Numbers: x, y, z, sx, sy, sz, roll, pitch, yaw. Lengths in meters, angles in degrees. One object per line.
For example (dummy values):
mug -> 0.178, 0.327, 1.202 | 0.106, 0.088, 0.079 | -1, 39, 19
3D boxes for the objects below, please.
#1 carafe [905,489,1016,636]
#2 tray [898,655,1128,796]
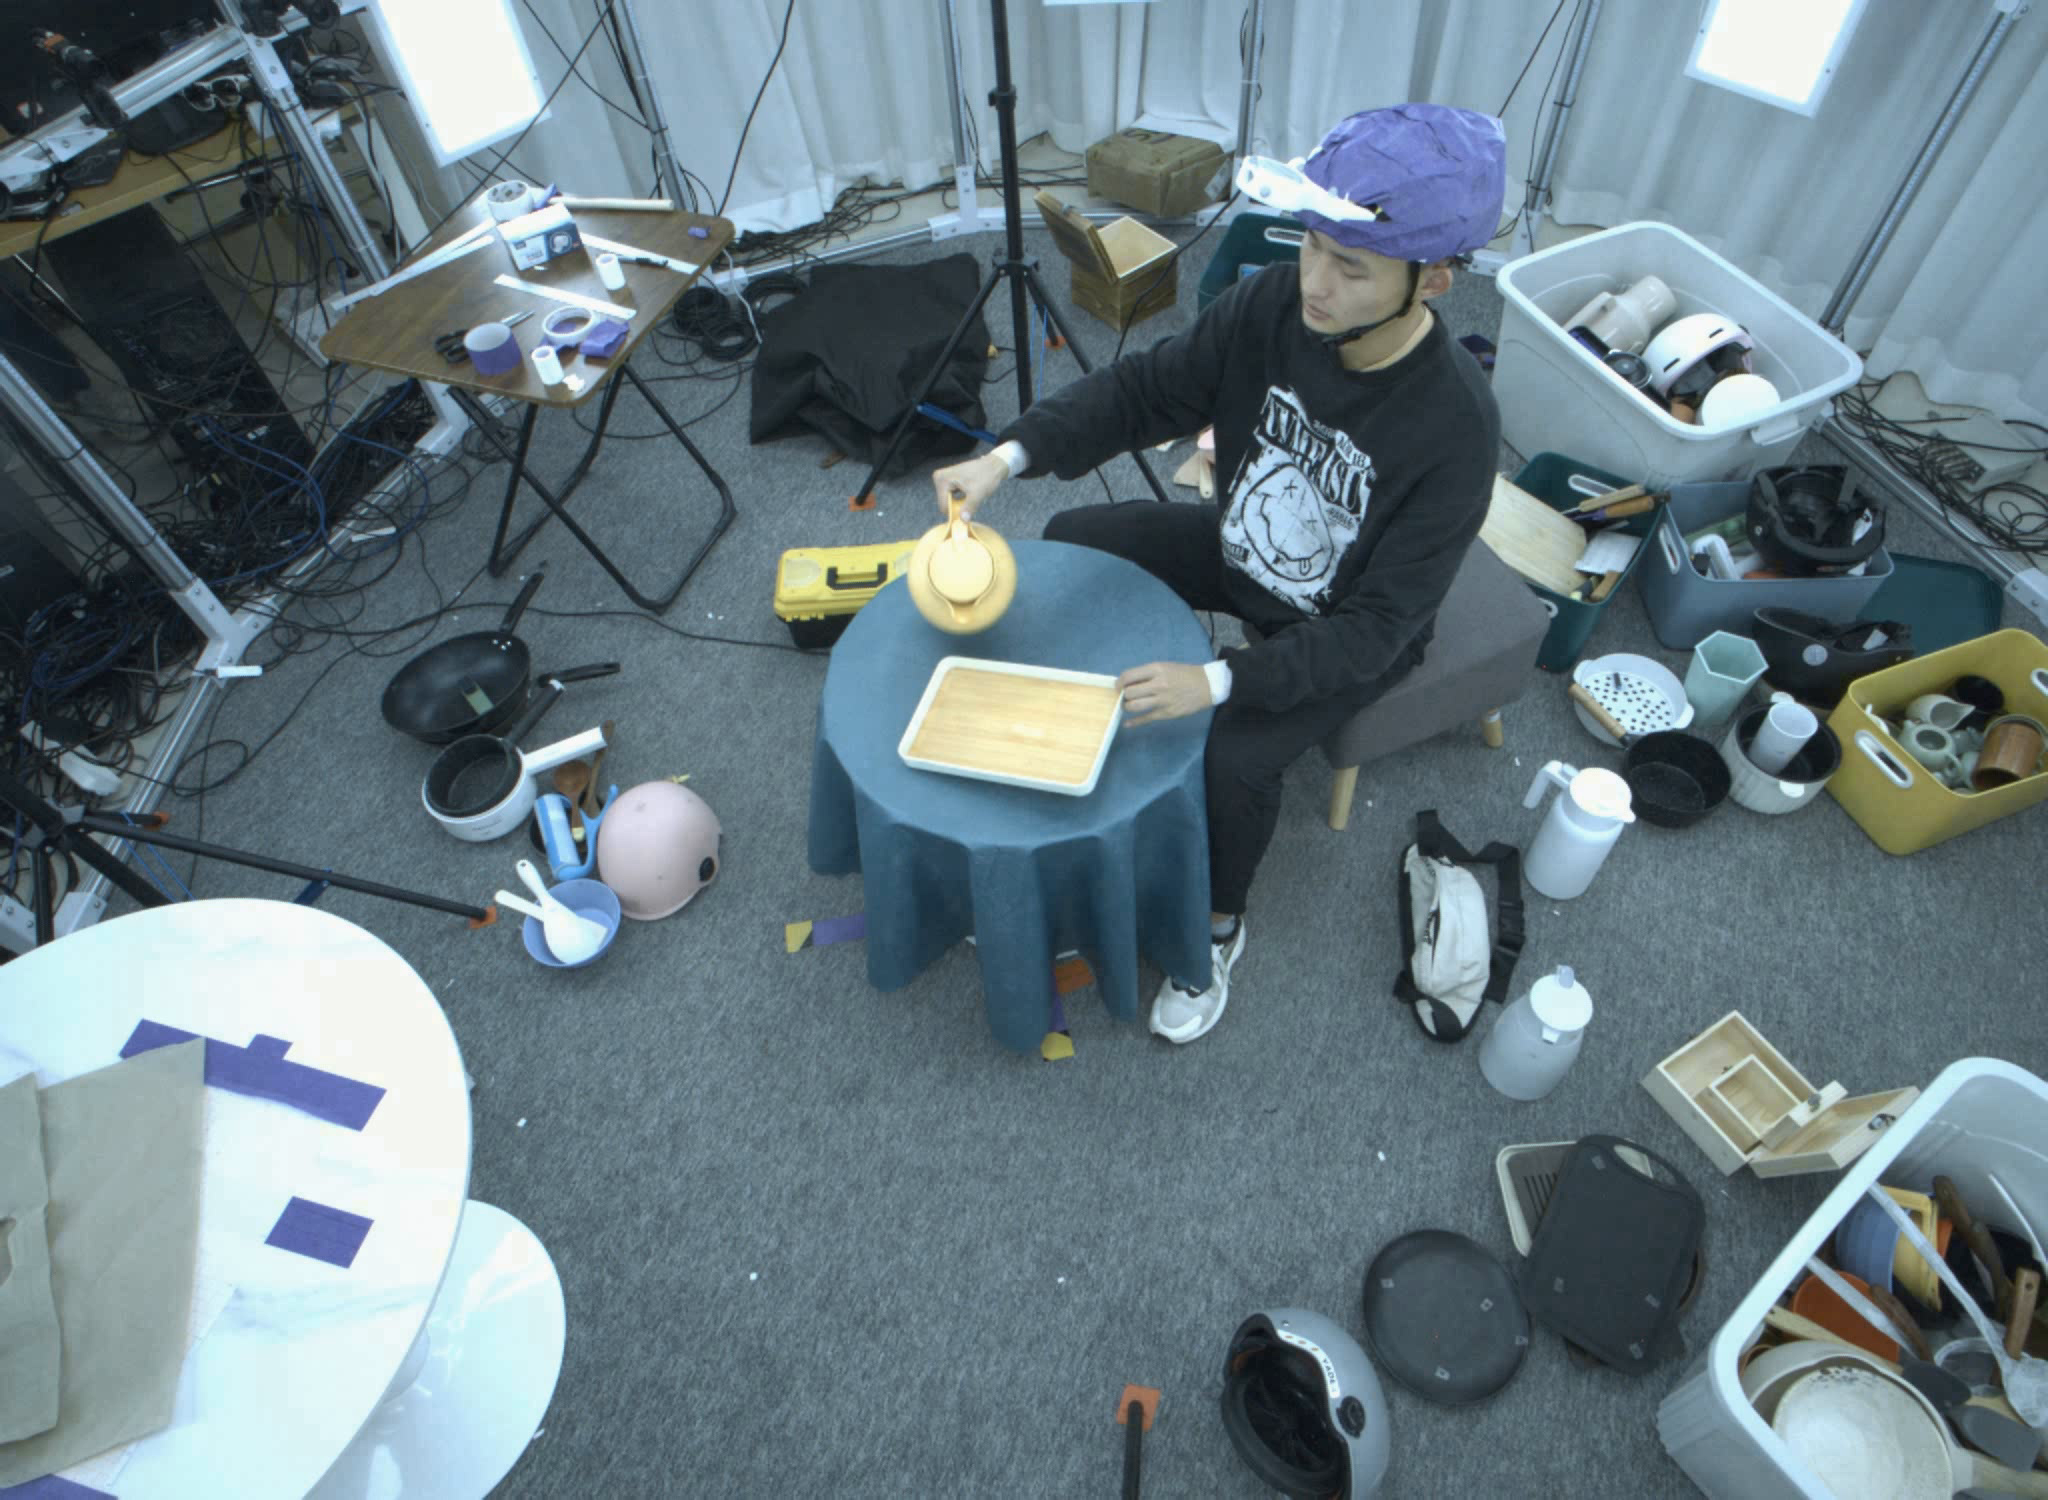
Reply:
carafe -> -0.092, -0.271, 1.782 | 0.164, 0.259, 0.202 | -1, 94, -5
tray -> -0.016, -0.039, 1.756 | 0.296, 0.028, 0.191 | 10, 59, 21
